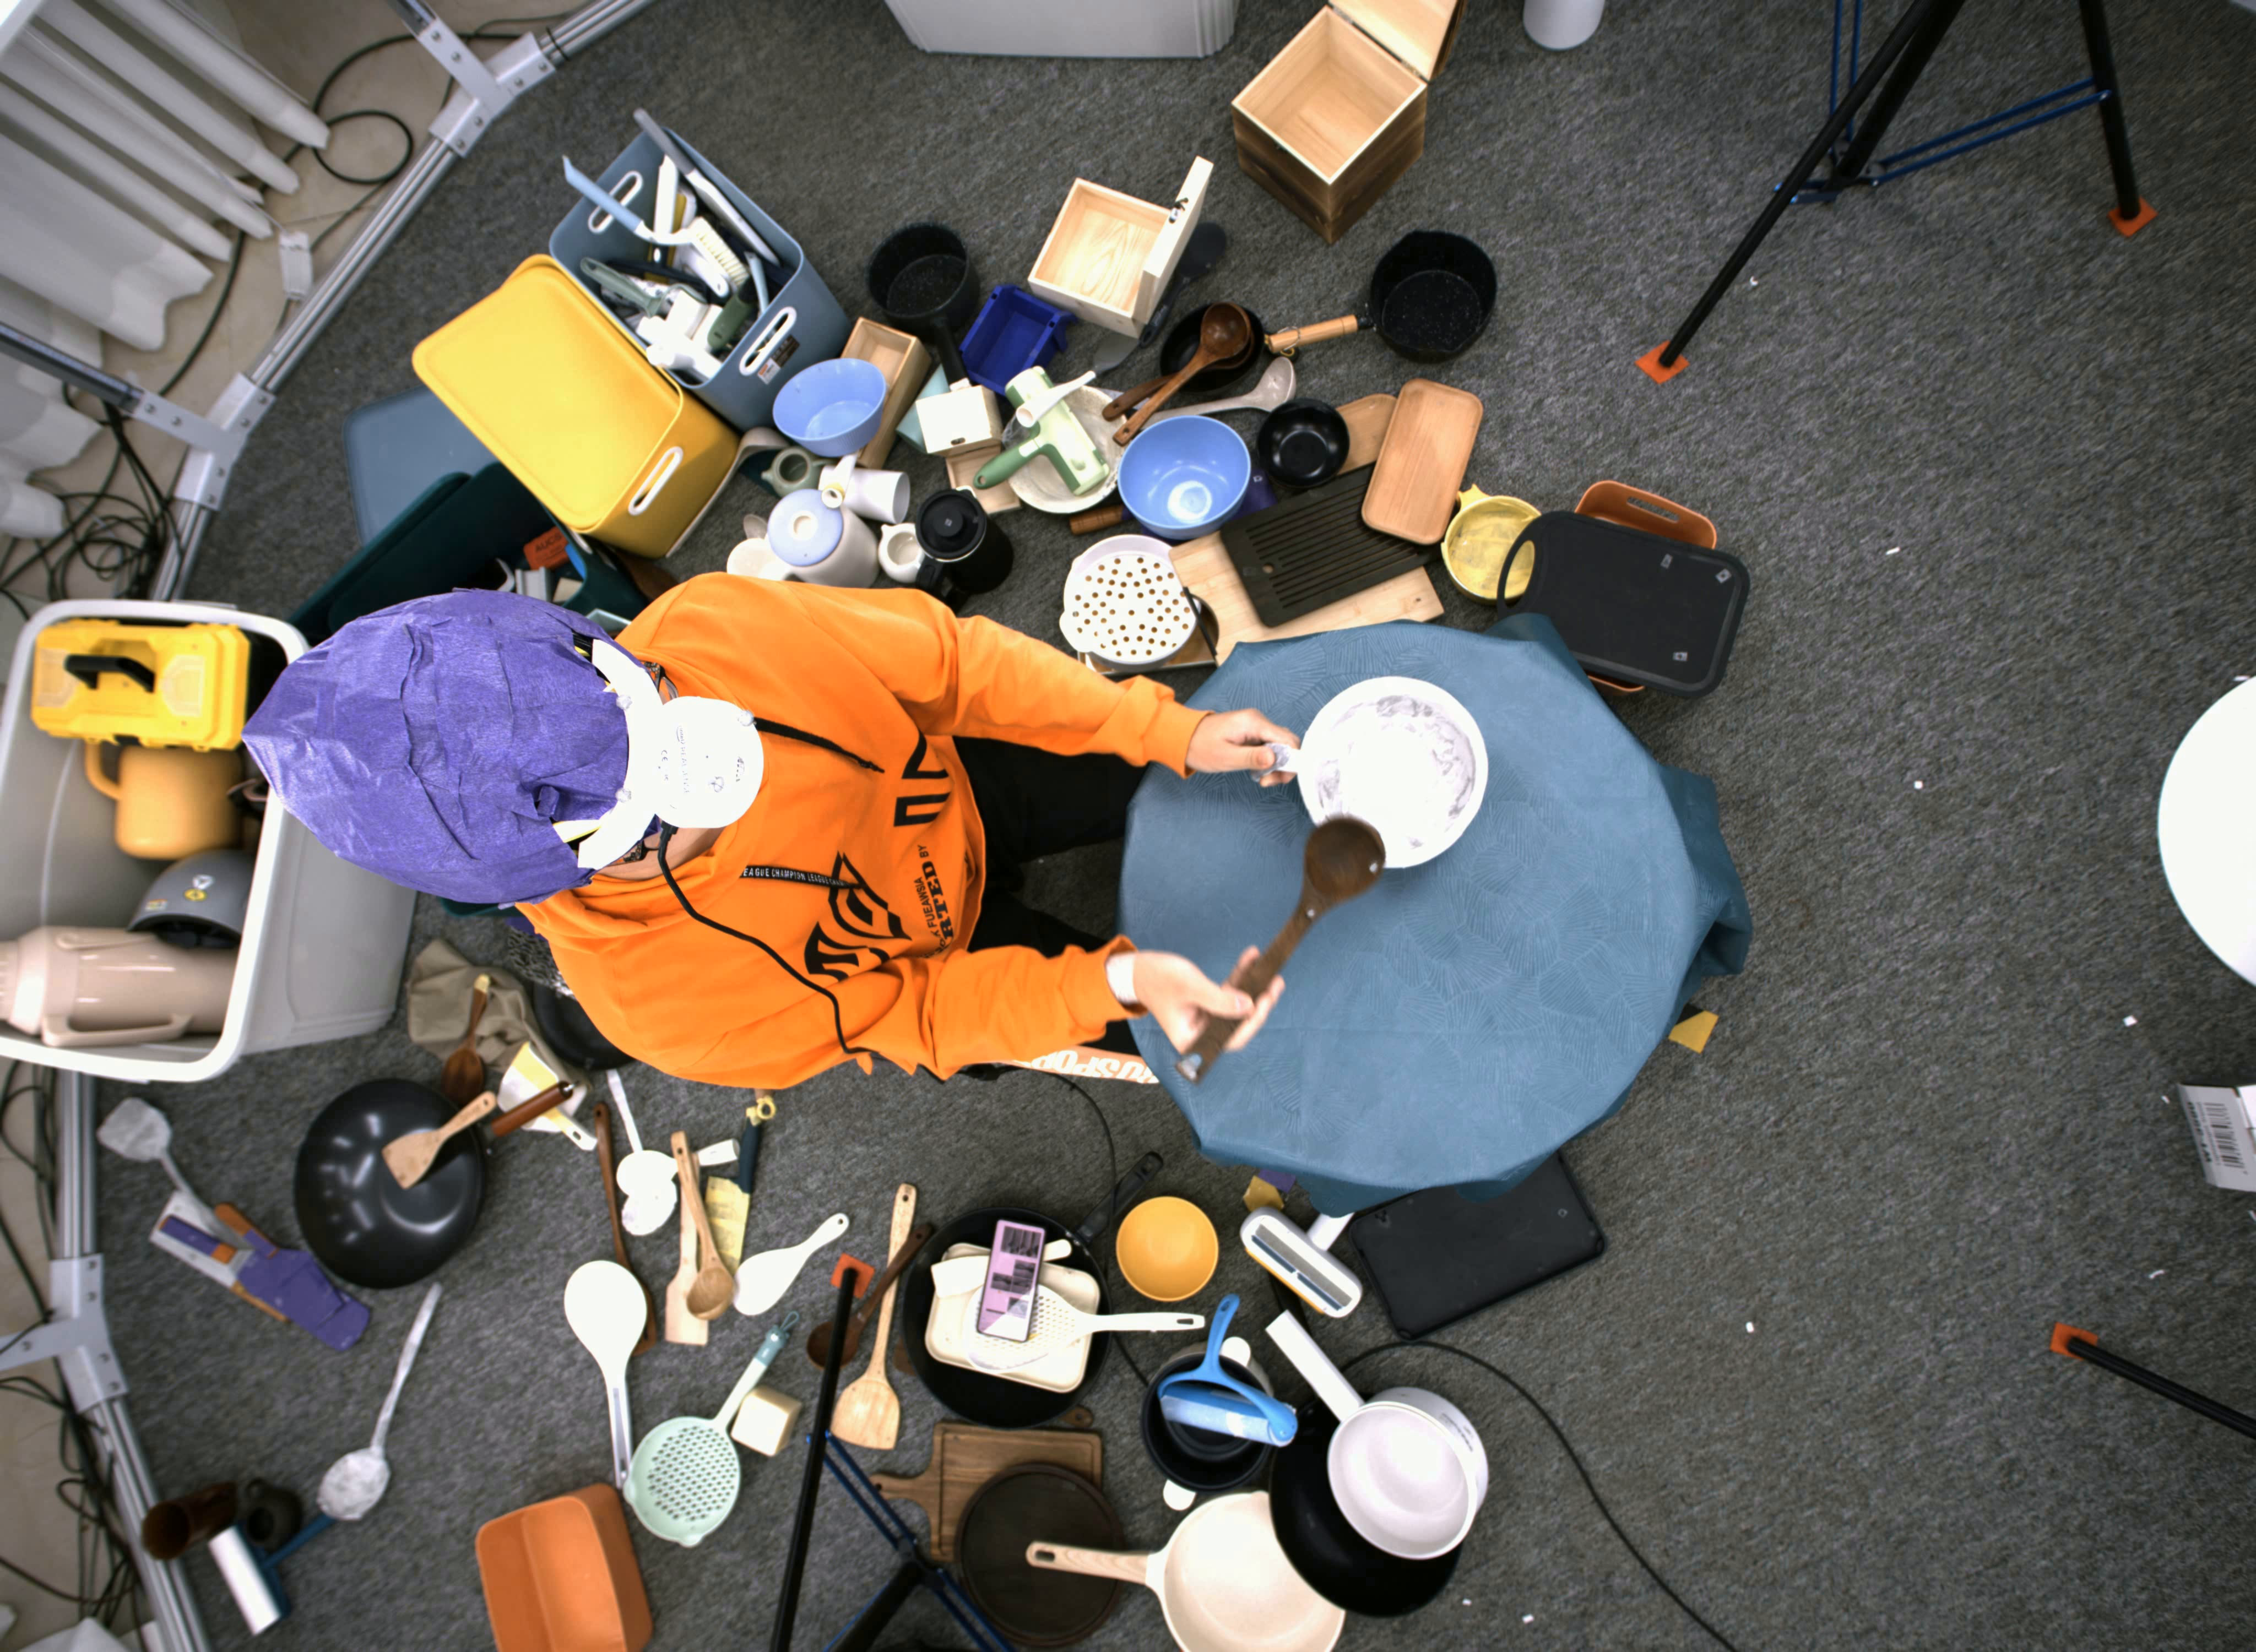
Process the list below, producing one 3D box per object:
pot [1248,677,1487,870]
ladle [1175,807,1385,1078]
[{"bbox_3d":[0.232,-0.051,1.367,0.234,0.137,0.178,6,87,11],"label":"pot"},{"bbox_3d":[0.129,0.098,1.207,0.075,0.072,0.270,34,73,17],"label":"ladle"}]
